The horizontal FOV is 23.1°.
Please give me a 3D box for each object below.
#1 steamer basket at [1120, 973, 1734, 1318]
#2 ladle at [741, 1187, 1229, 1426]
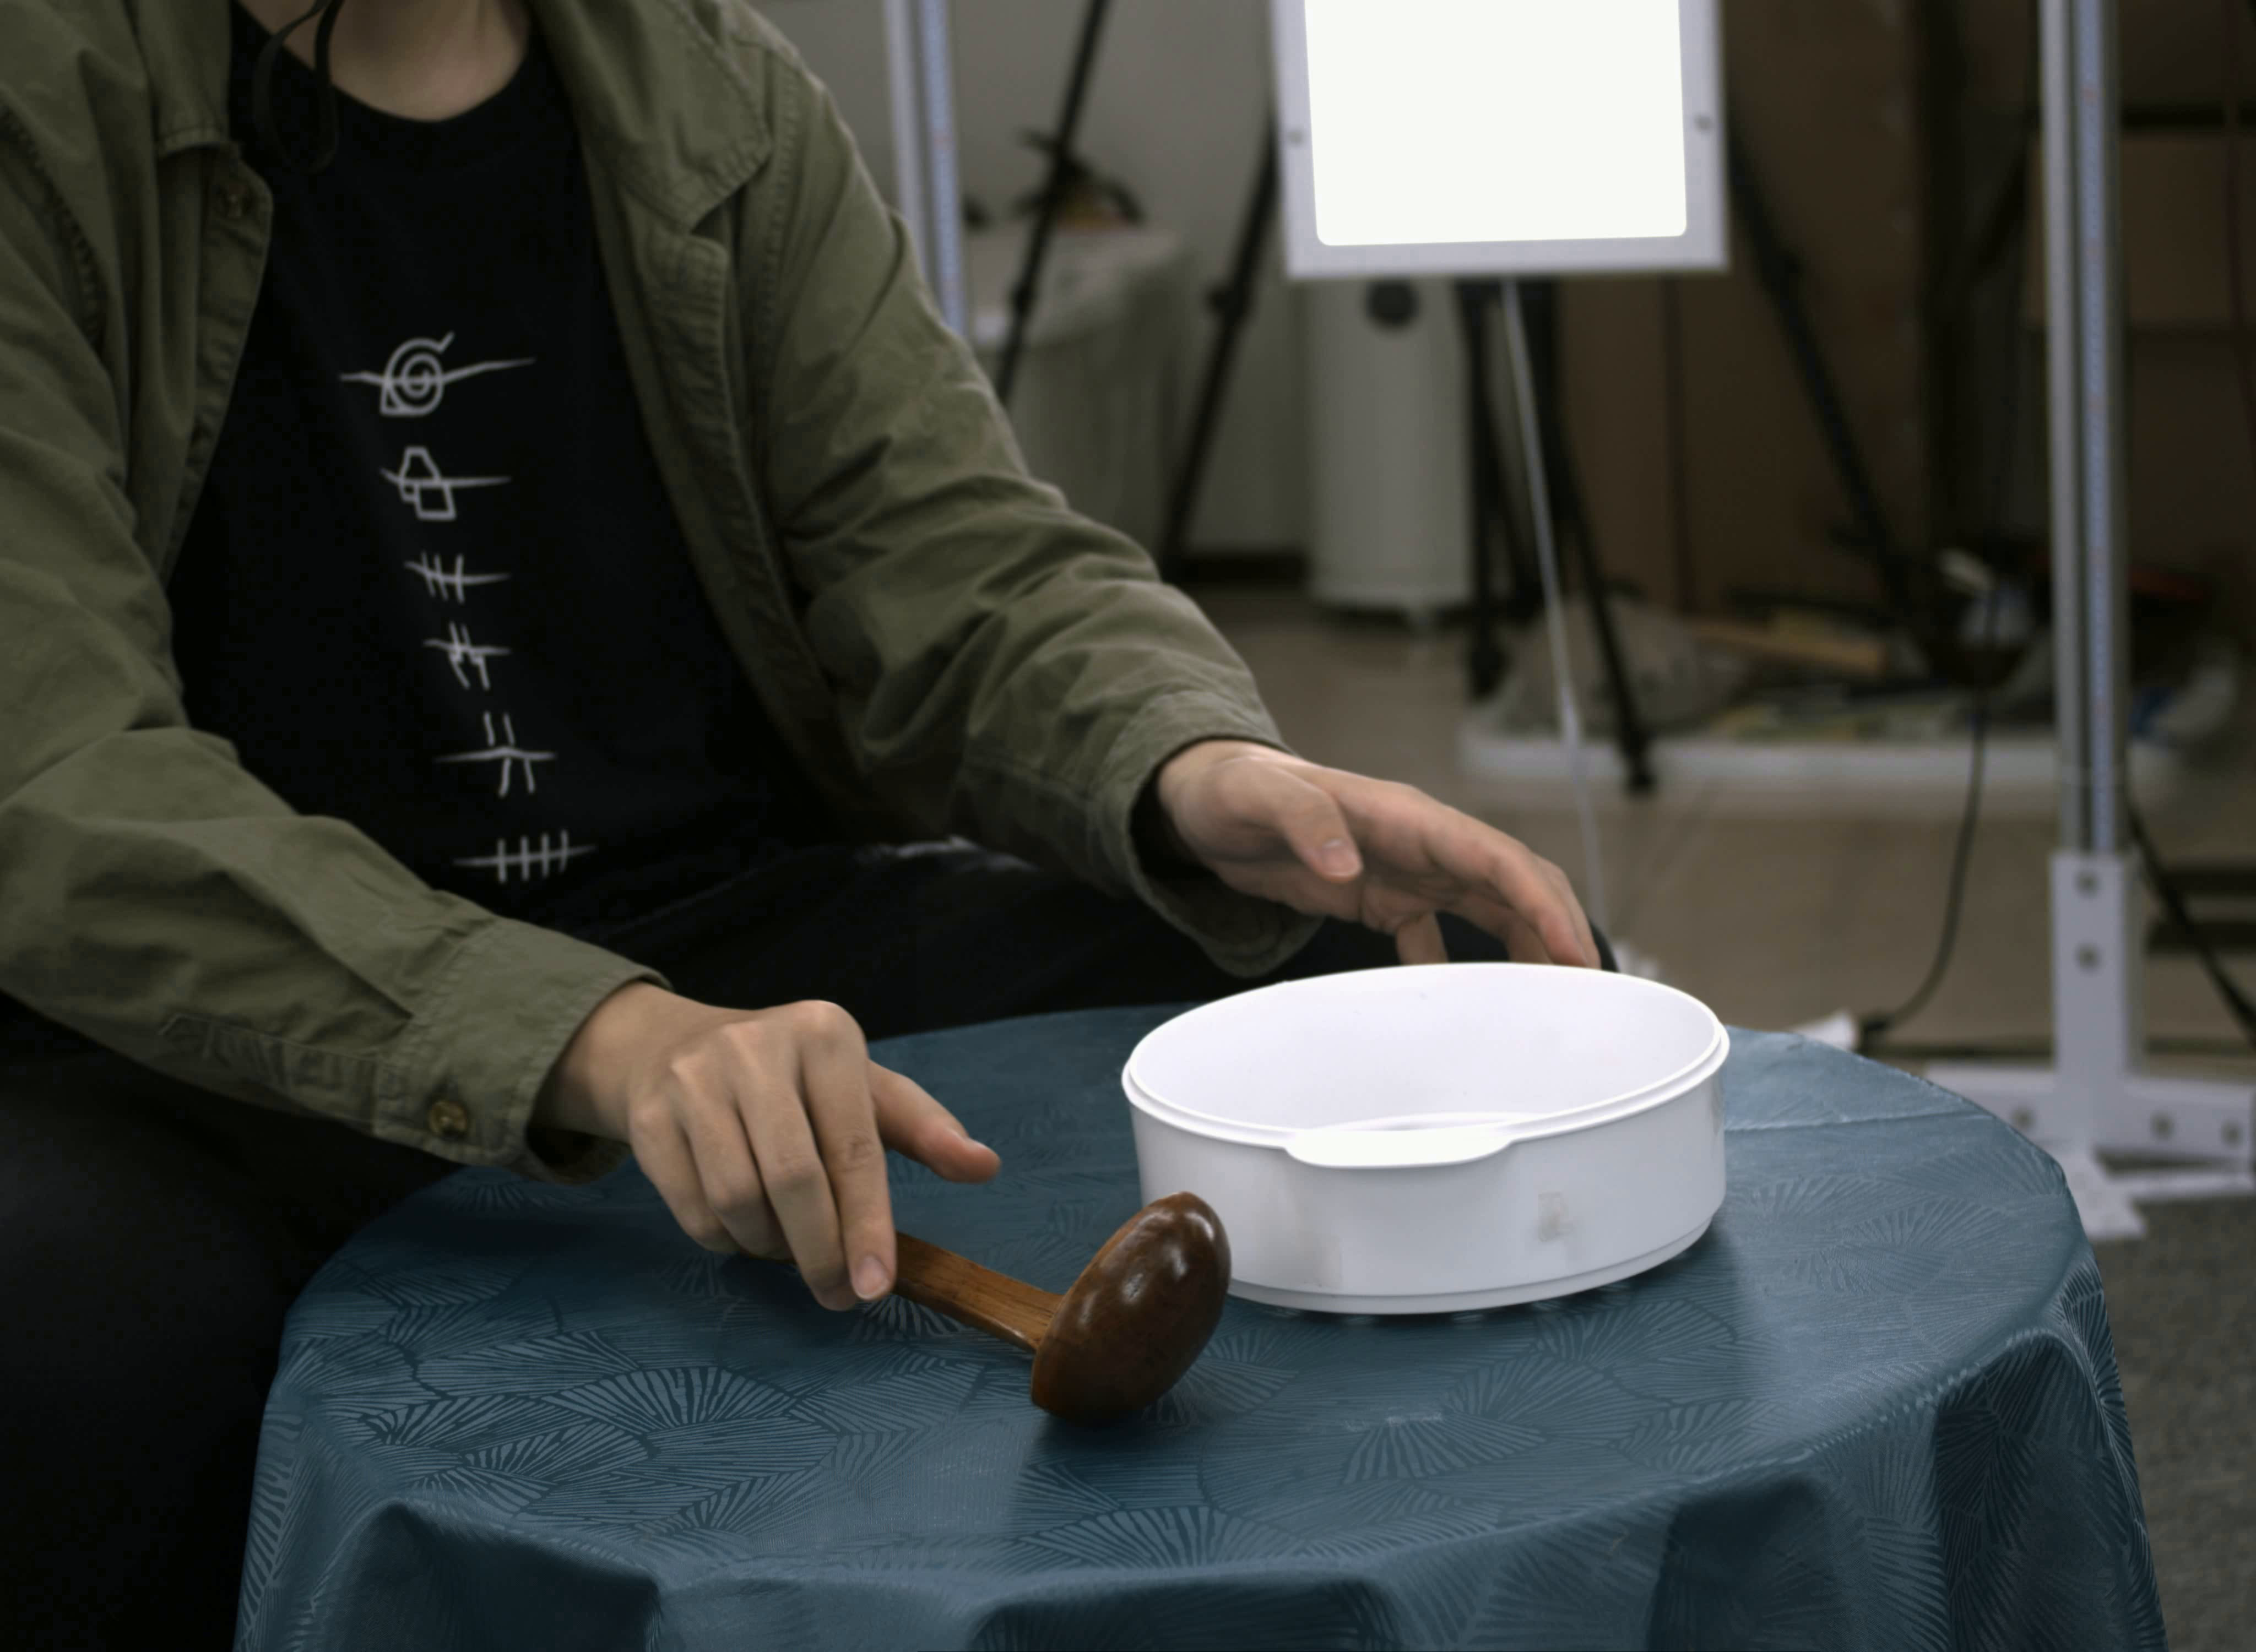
[{"bbox_3d":[0.100,0.104,1.806,0.203,0.069,0.228,-2,13,10],"label":"steamer basket"},{"bbox_3d":[-0.062,0.132,1.747,0.081,0.076,0.279,-41,29,-22],"label":"ladle"}]
